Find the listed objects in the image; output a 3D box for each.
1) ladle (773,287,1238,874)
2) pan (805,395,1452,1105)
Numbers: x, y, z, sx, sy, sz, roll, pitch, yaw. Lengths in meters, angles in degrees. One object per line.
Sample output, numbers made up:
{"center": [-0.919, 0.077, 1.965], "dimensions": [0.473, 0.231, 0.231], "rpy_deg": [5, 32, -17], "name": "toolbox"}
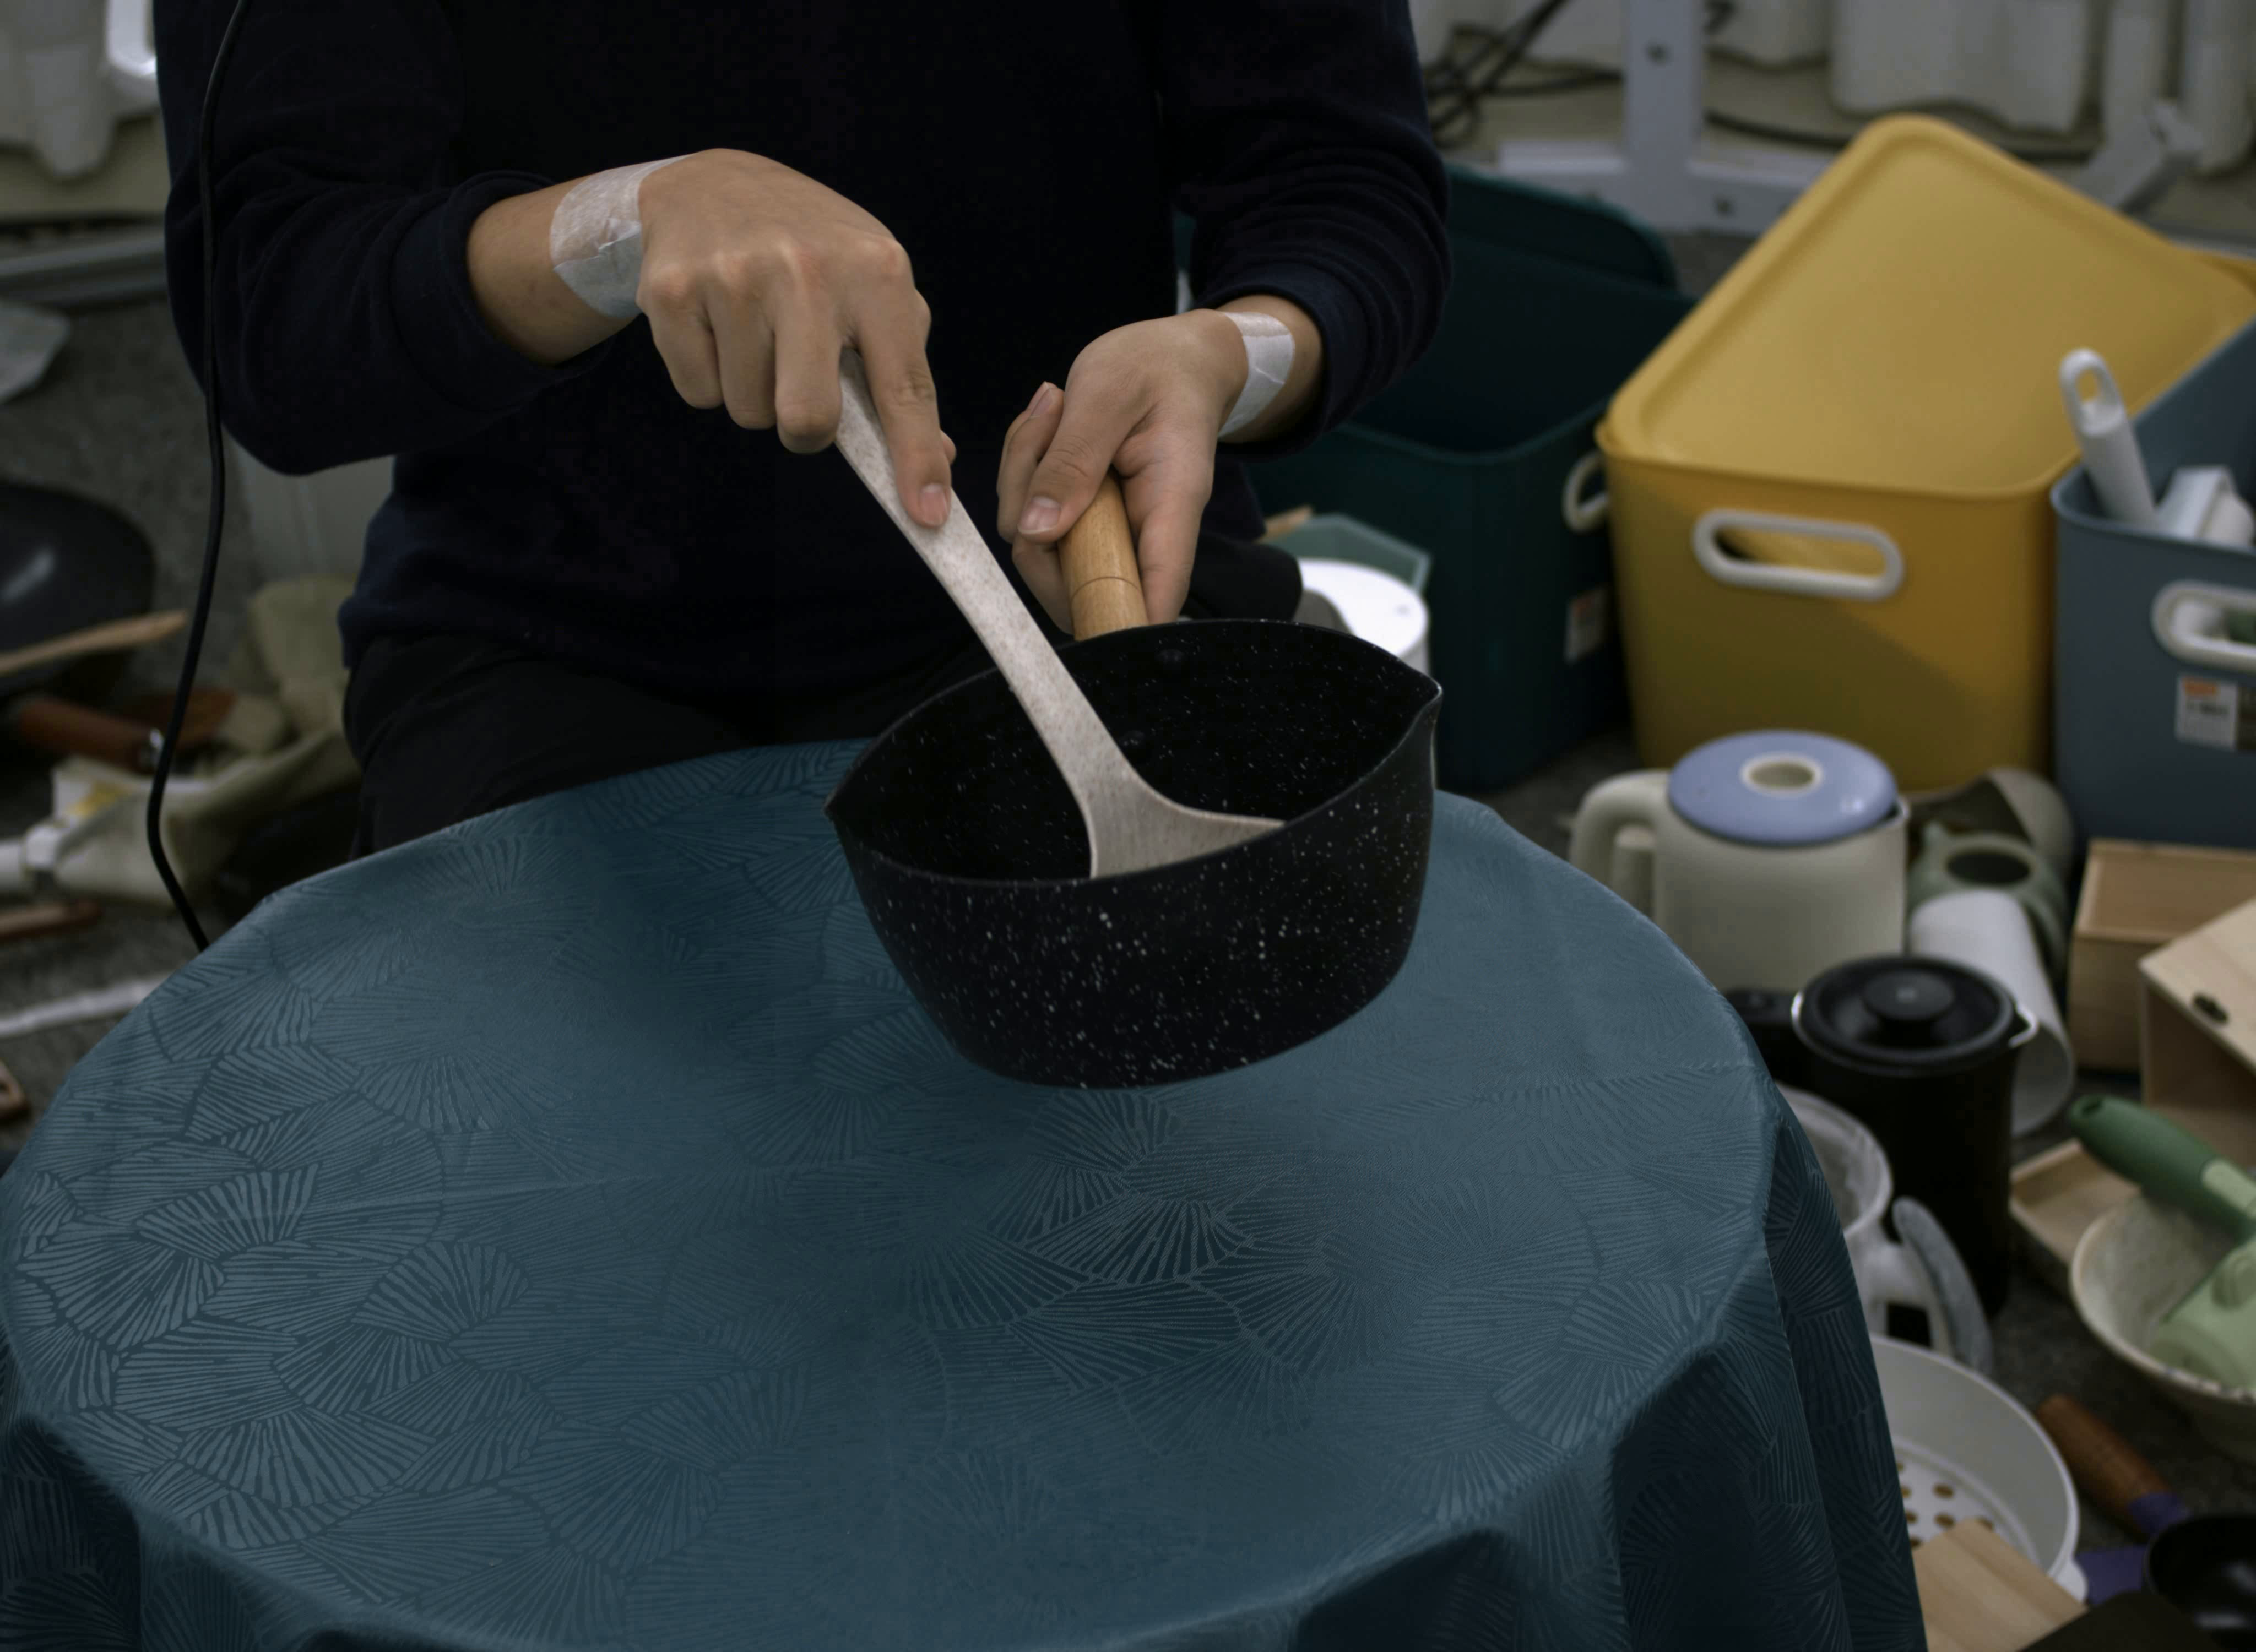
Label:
{"center": [-0.030, -0.066, 1.771], "dimensions": [0.090, 0.276, 0.068], "rpy_deg": [-28, -9, -24], "name": "ladle"}
{"center": [0.000, -0.030, 1.834], "dimensions": [0.206, 0.107, 0.347], "rpy_deg": [-13, 26, 0], "name": "pan"}
